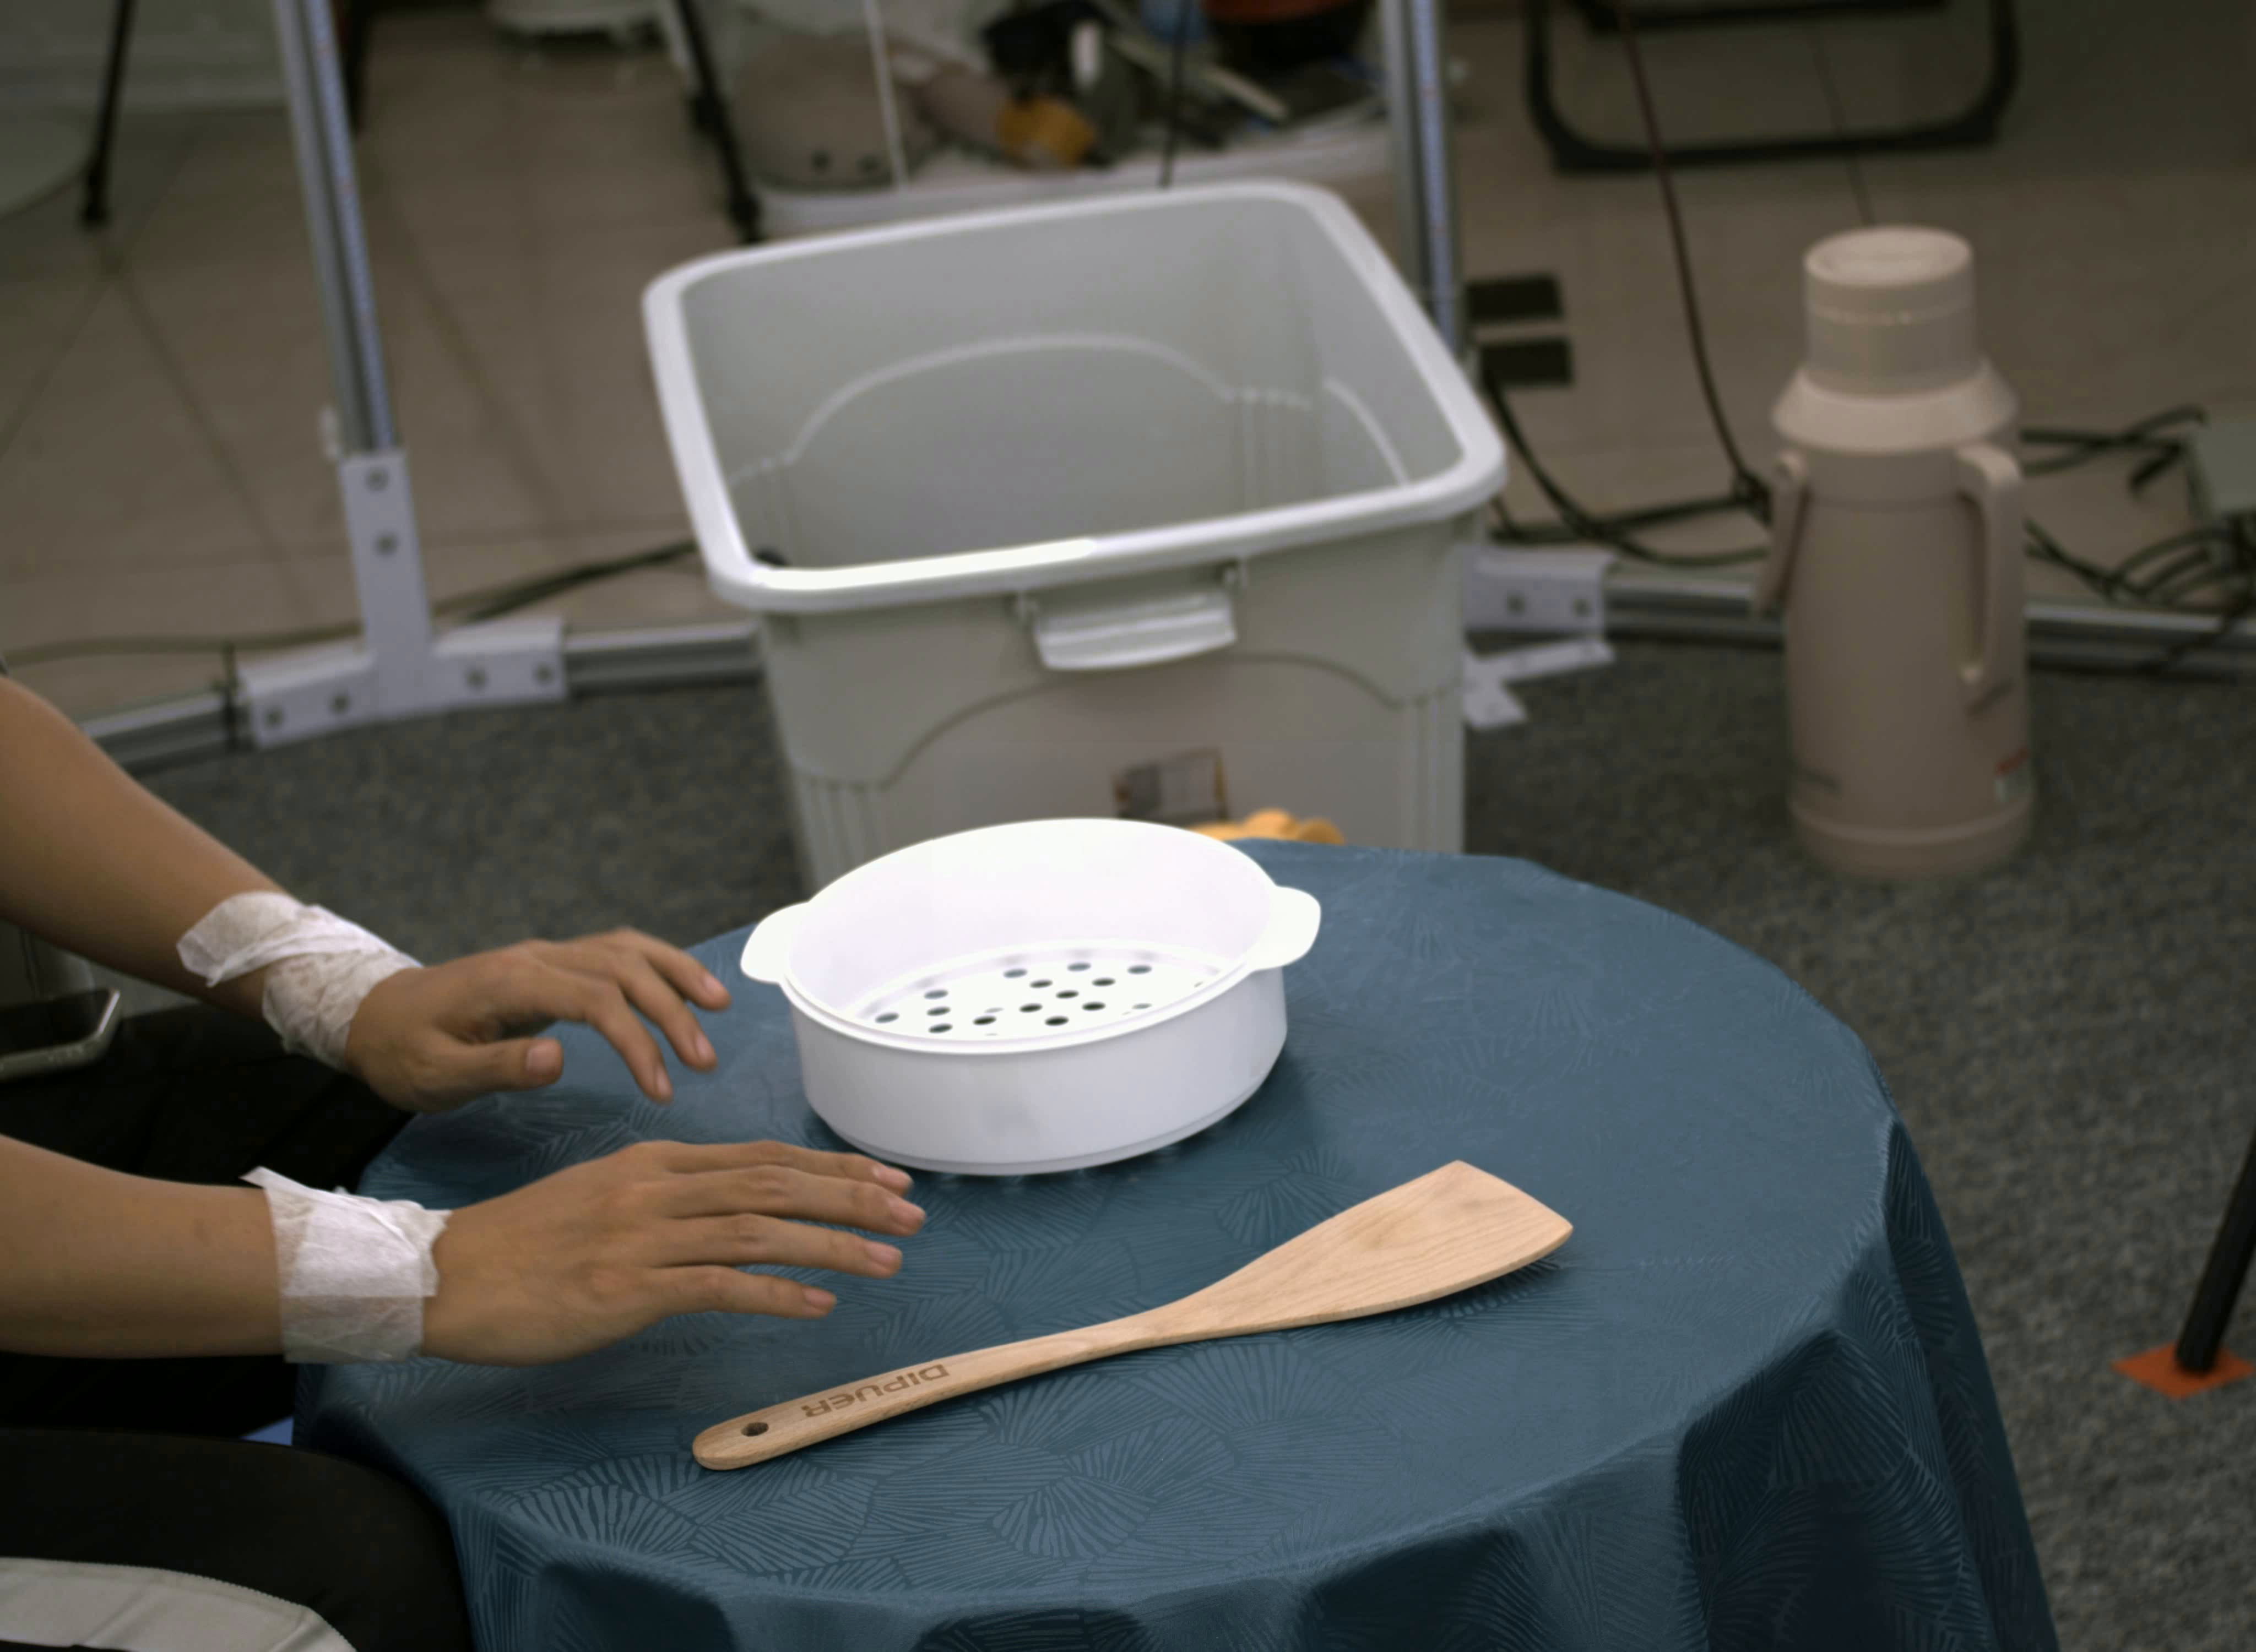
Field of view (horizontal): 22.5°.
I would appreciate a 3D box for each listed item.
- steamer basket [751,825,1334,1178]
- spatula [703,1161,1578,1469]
[{"bbox_3d":[-0.031,0.069,2.231,0.230,0.070,0.199,-2,24,11],"label":"steamer basket"},{"bbox_3d":[0.001,0.178,2.046,0.326,0.017,0.079,-15,25,-16],"label":"spatula"}]
